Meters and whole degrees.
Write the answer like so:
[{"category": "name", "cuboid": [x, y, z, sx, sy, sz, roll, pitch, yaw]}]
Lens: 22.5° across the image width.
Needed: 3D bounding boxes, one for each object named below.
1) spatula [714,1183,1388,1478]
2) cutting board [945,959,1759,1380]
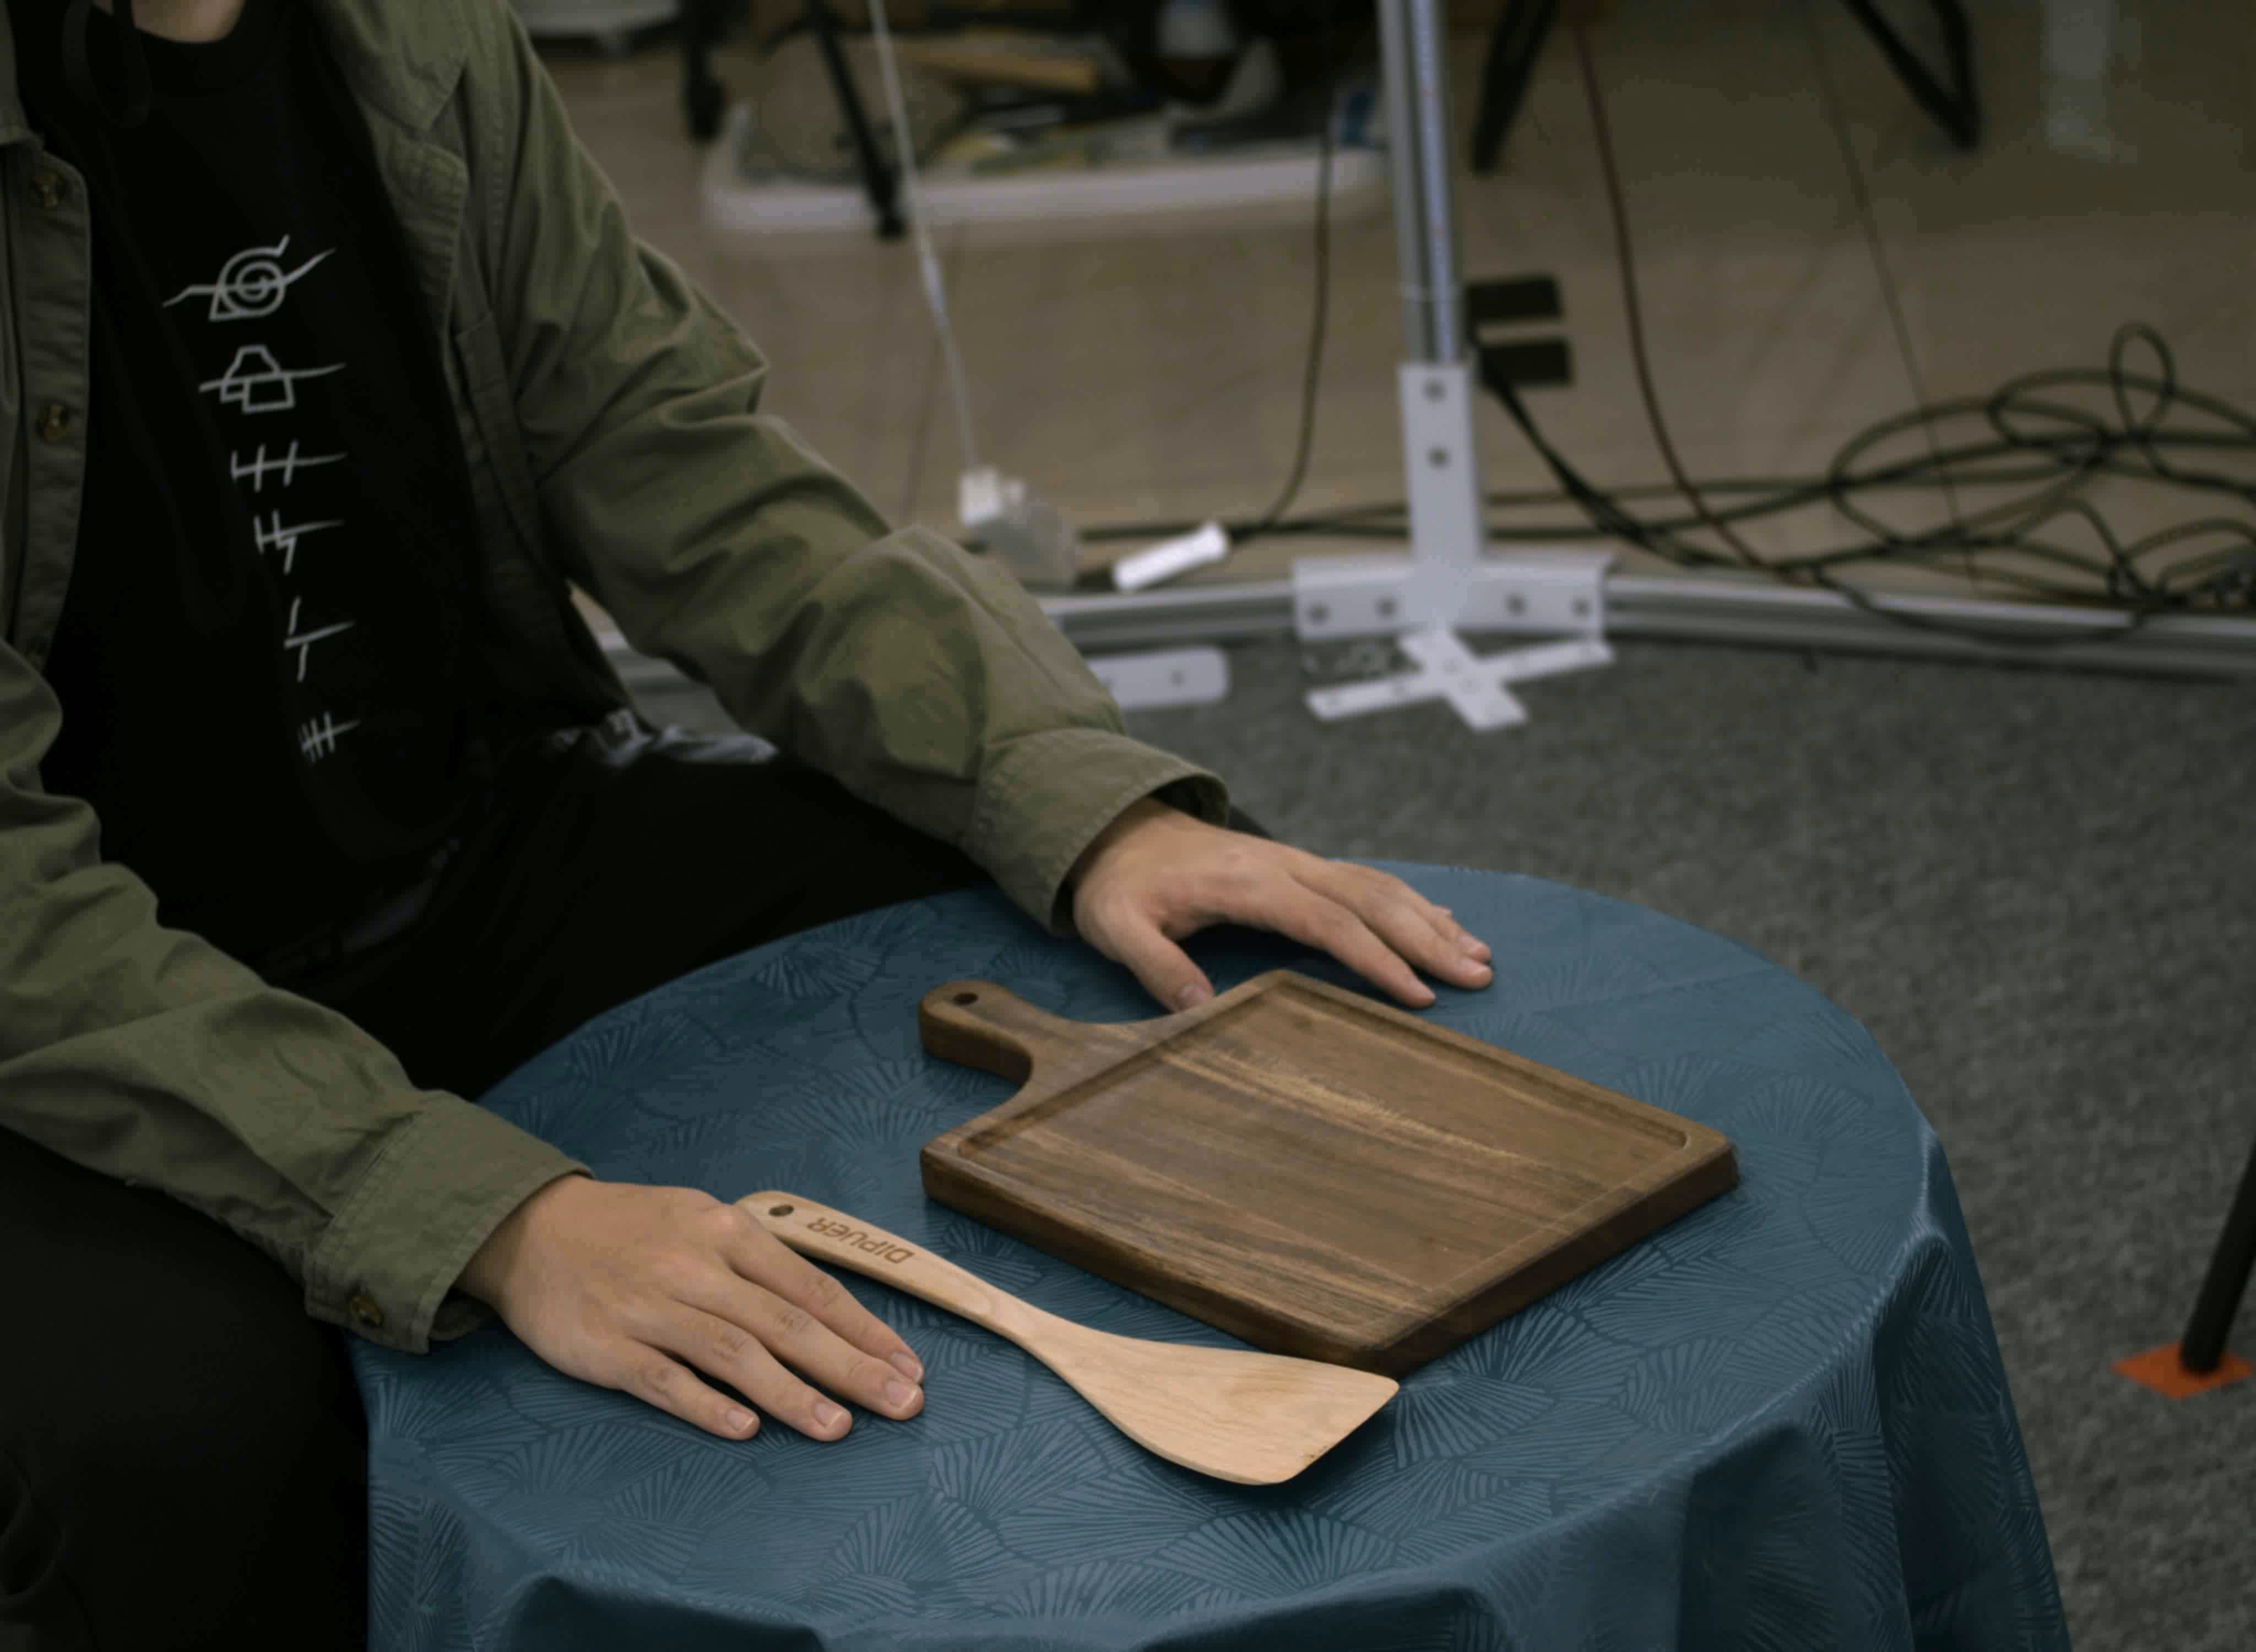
[{"category": "spatula", "cuboid": [-0.039, 0.176, 2.064, 0.325, 0.017, 0.079, 19, 35, 42]}, {"category": "cutting board", "cuboid": [0.051, 0.112, 2.172, 0.199, 0.023, 0.349, -25, 31, -34]}]
